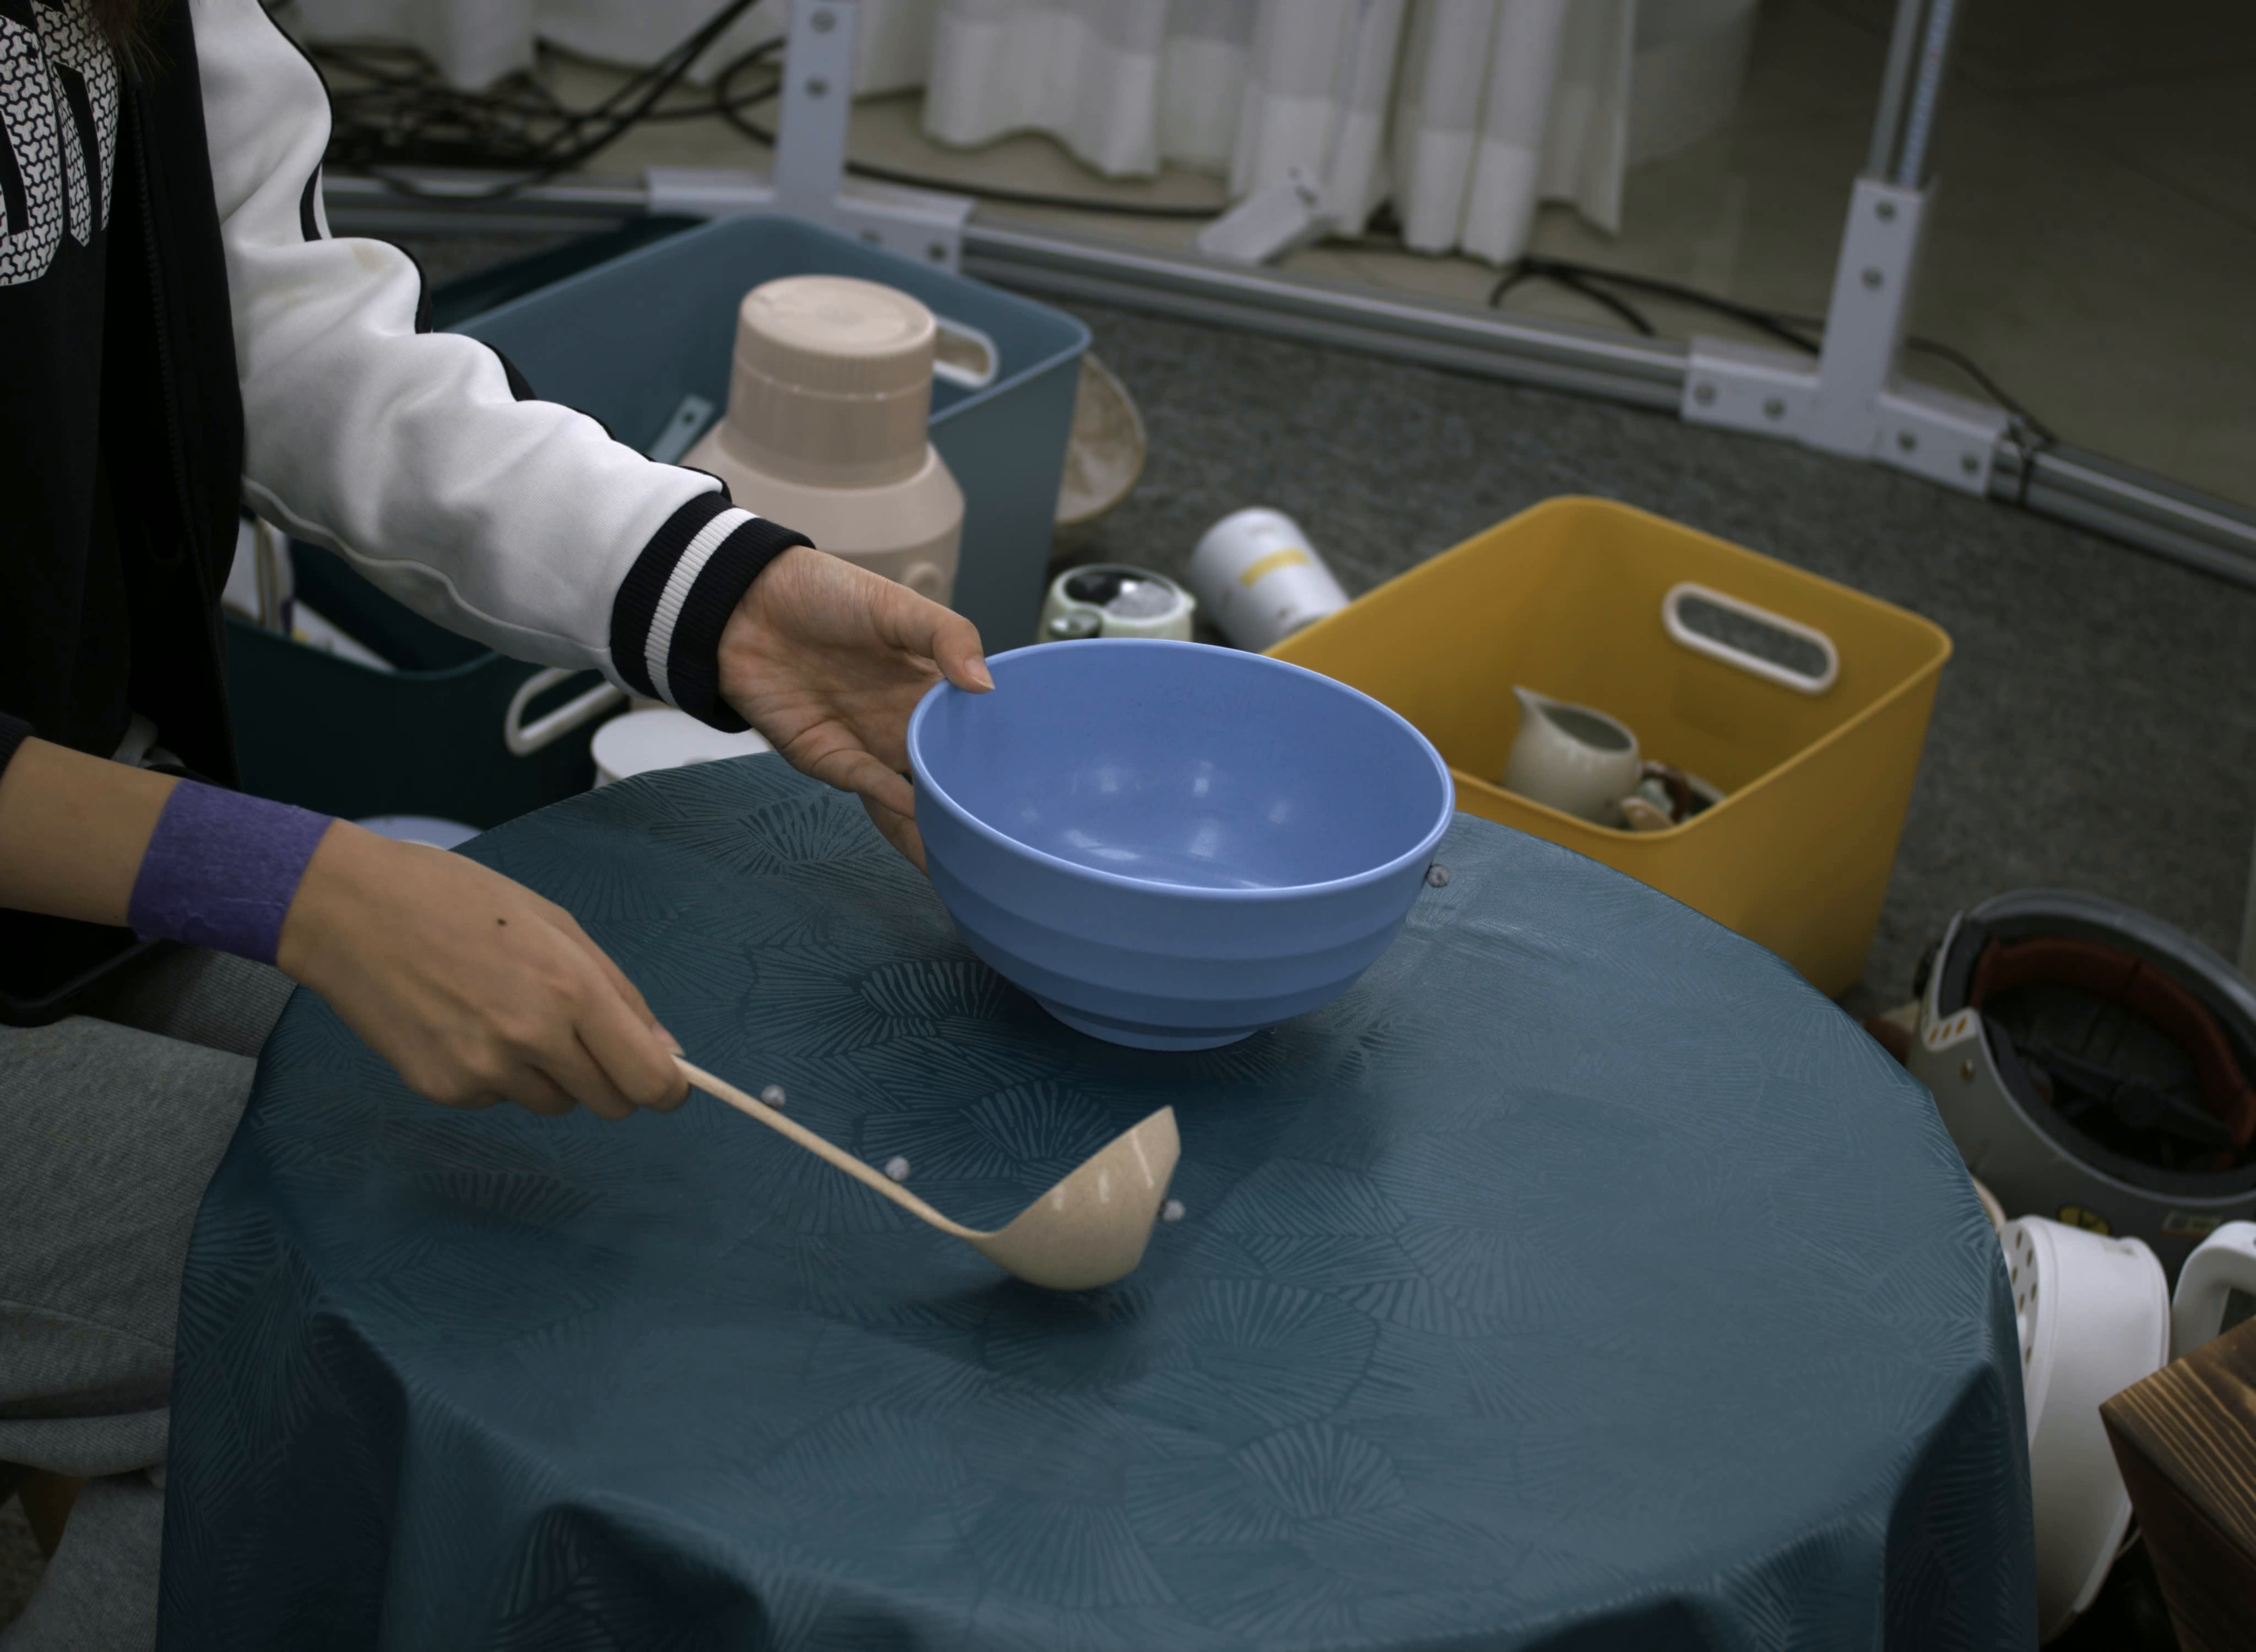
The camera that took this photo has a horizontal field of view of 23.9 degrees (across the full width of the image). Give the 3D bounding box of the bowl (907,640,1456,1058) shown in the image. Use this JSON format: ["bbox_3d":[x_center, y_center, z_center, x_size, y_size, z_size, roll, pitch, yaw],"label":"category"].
[{"bbox_3d":[0.014,0.020,1.909,0.196,0.095,0.198,5,28,-3],"label":"bowl"}]

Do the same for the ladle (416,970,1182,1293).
[{"bbox_3d":[-0.103,0.074,1.732,0.254,0.073,0.072,27,-7,4],"label":"ladle"}]
